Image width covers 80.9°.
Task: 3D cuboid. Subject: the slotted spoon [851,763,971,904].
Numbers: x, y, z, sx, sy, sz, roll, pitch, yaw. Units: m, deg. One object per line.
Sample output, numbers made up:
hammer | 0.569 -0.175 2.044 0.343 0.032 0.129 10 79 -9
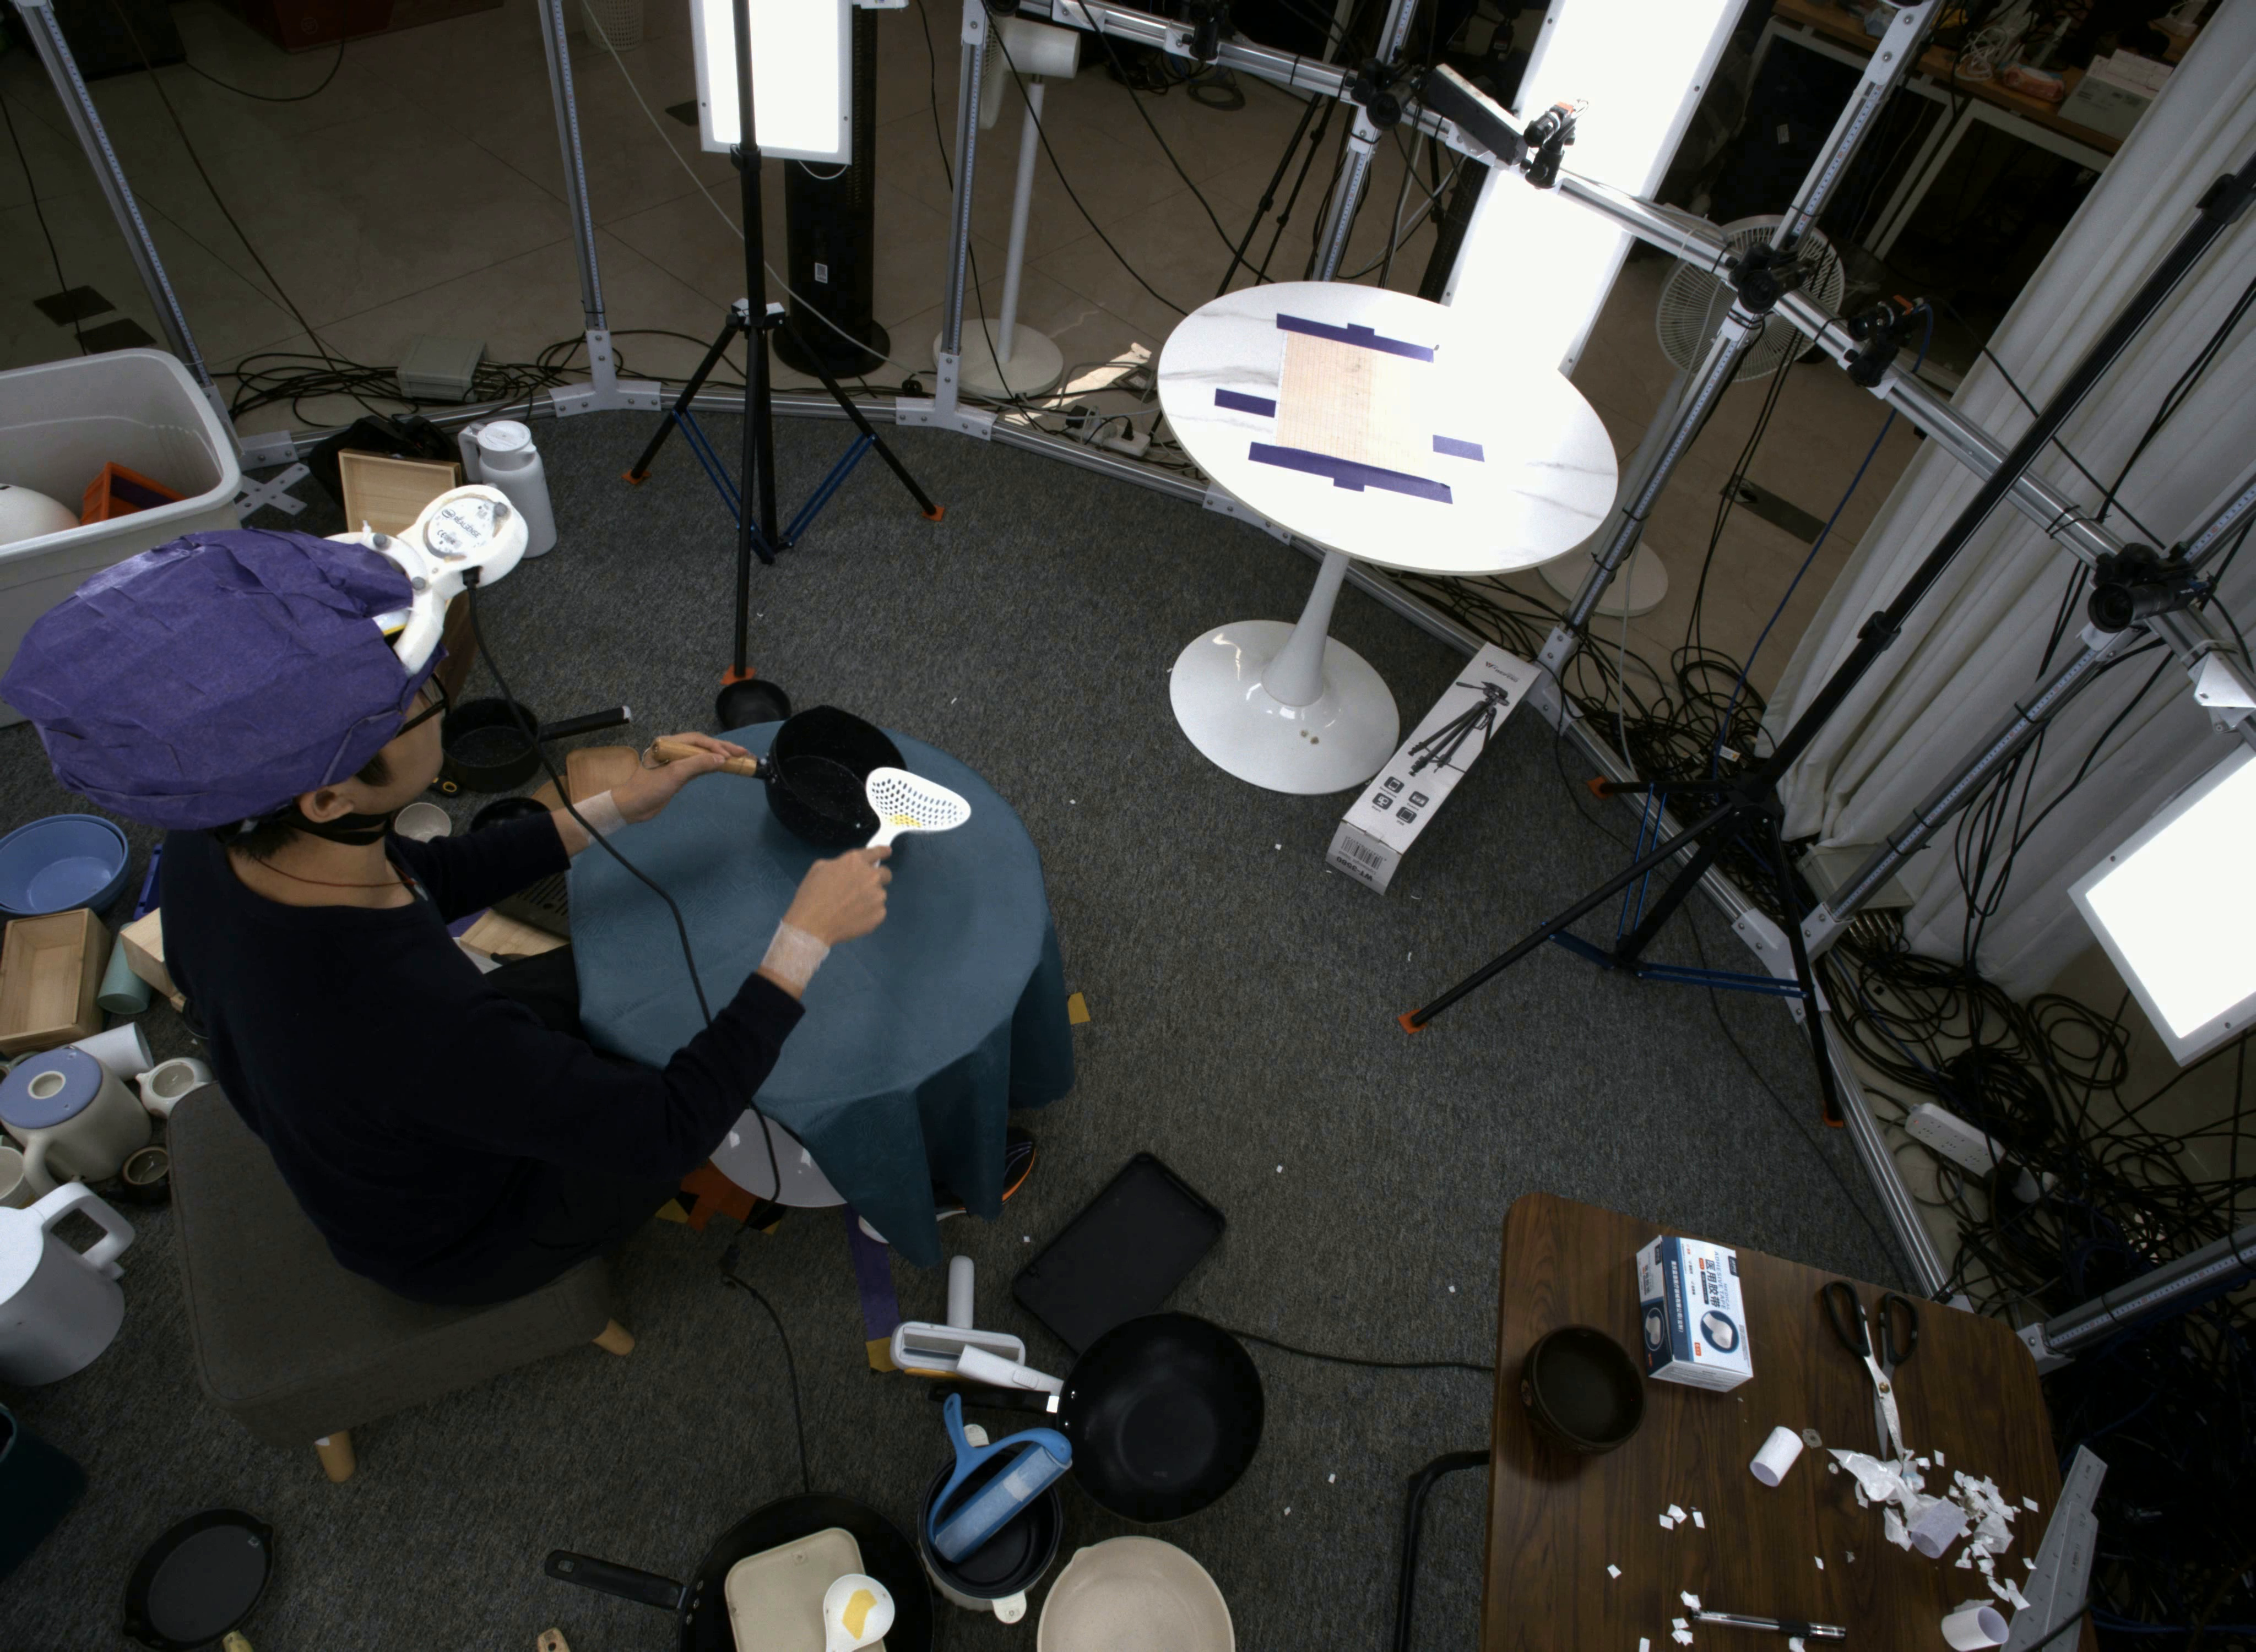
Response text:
slotted spoon | -0.274 0.007 1.516 0.137 0.051 0.343 26 16 -5

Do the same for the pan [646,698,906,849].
pan | -0.446 -0.064 1.627 0.349 0.108 0.203 0 57 -40
